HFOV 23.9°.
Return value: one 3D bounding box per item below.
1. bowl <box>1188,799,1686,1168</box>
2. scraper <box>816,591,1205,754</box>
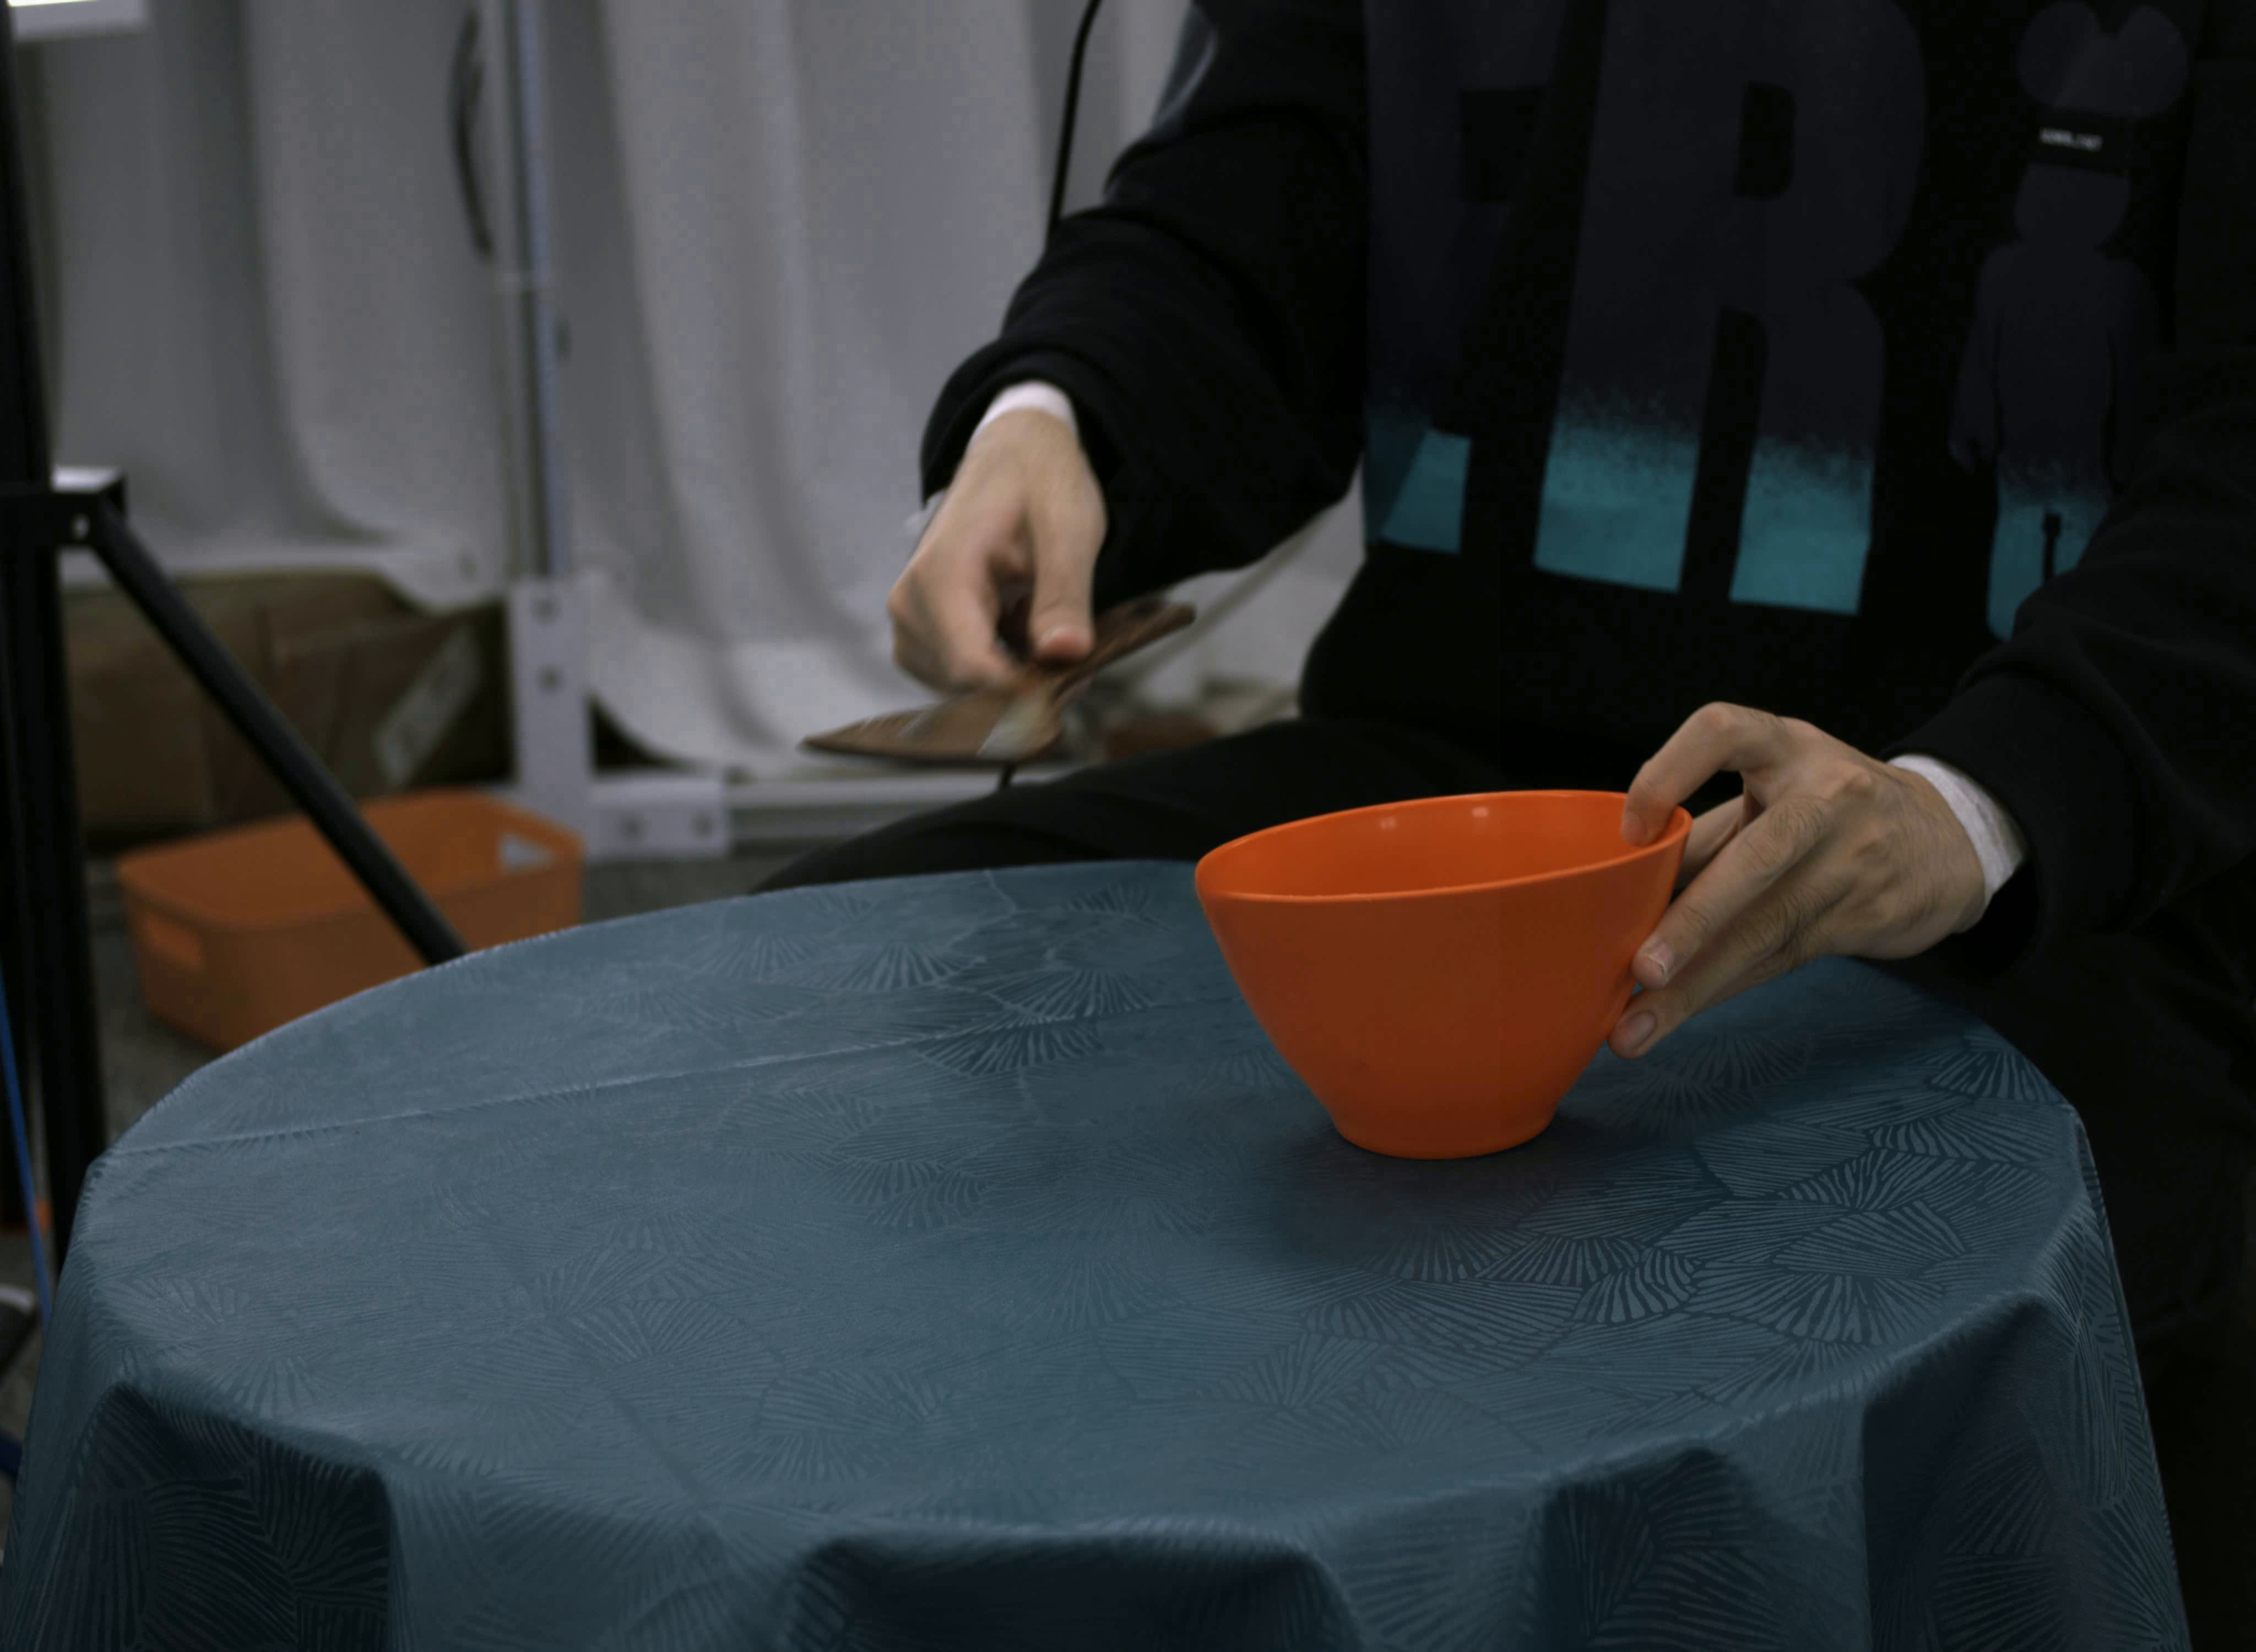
[{"bbox_3d":[0.093,0.046,1.576,0.147,0.104,0.149,-4,17,0],"label":"bowl"},{"bbox_3d":[-0.024,-0.049,1.686,0.077,0.011,0.208,4,17,23],"label":"scraper"}]
